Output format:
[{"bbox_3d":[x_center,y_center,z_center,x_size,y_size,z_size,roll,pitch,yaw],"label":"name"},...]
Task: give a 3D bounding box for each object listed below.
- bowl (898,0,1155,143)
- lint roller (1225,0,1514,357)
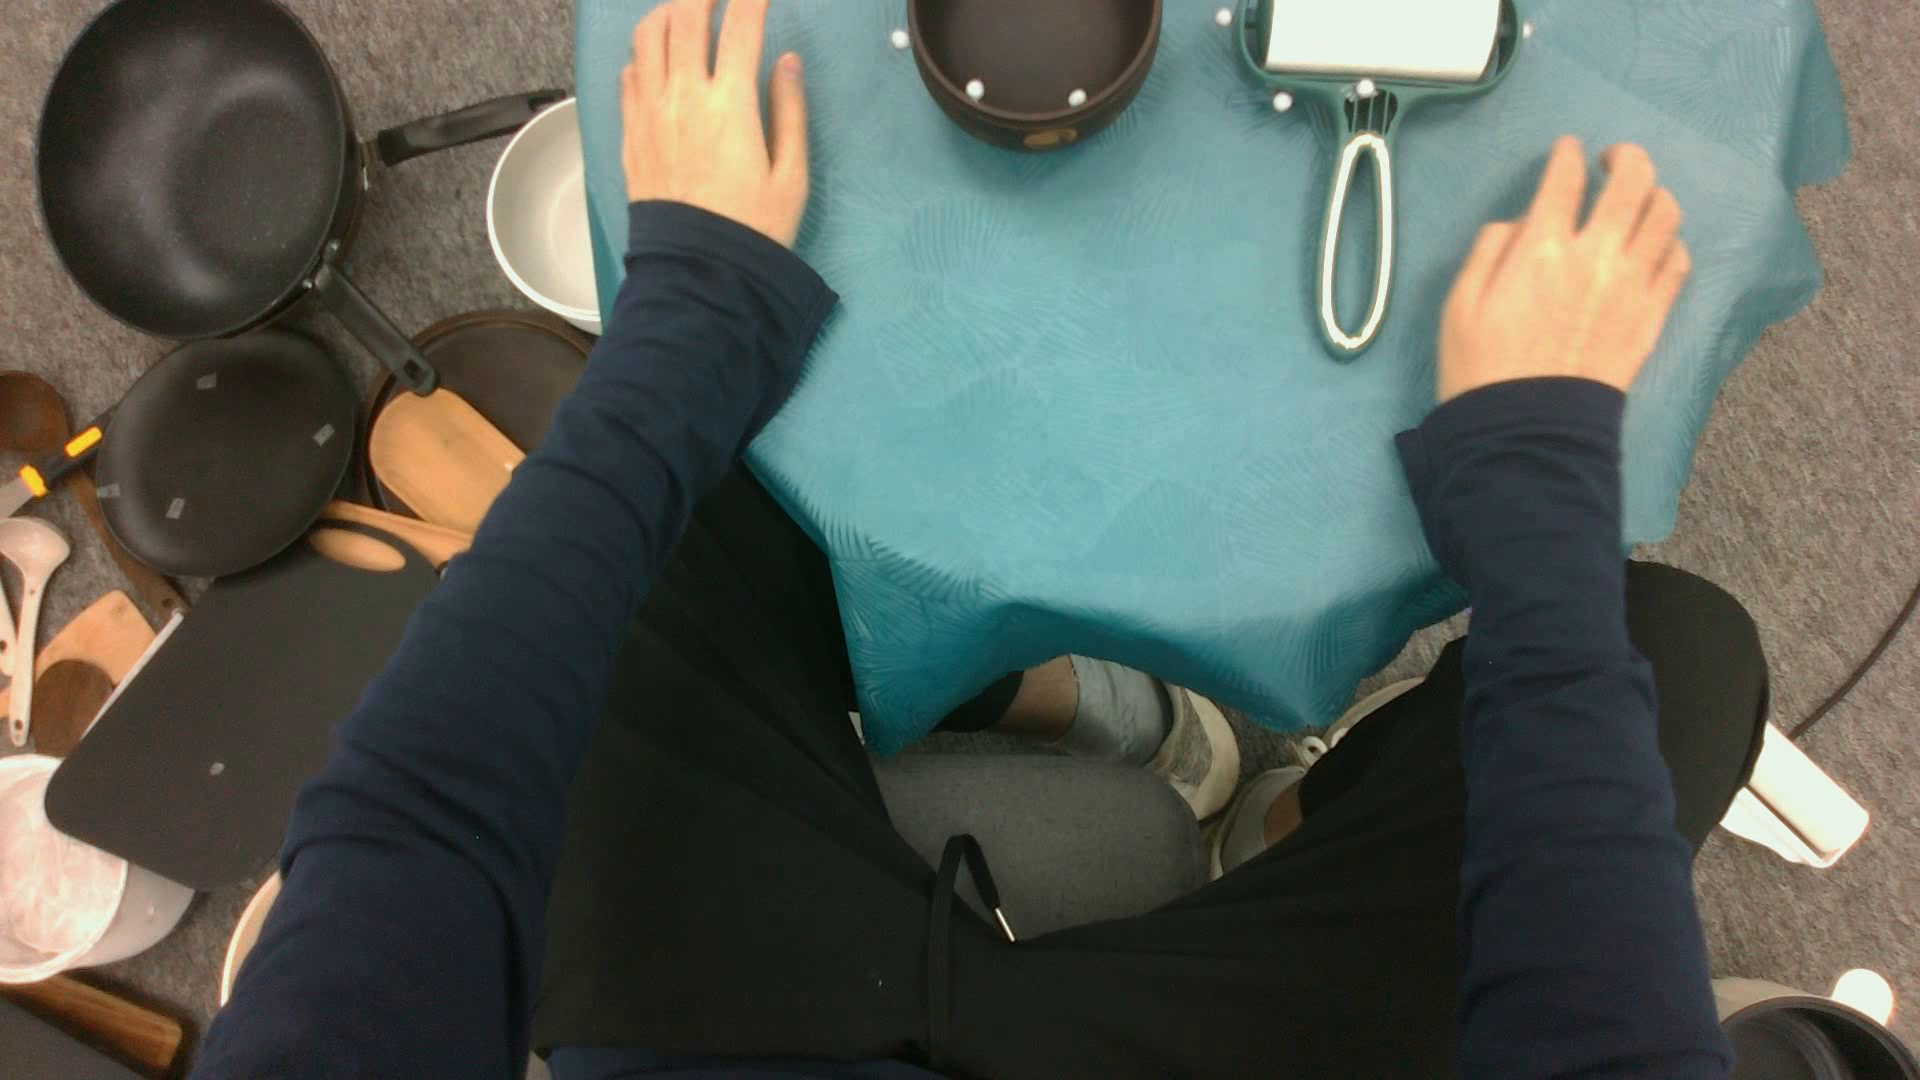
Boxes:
[{"bbox_3d":[0.031,-0.243,0.647,0.118,0.070,0.118,0,84,1],"label":"bowl"},{"bbox_3d":[0.186,-0.179,0.649,0.134,0.048,0.180,5,87,3],"label":"lint roller"}]
